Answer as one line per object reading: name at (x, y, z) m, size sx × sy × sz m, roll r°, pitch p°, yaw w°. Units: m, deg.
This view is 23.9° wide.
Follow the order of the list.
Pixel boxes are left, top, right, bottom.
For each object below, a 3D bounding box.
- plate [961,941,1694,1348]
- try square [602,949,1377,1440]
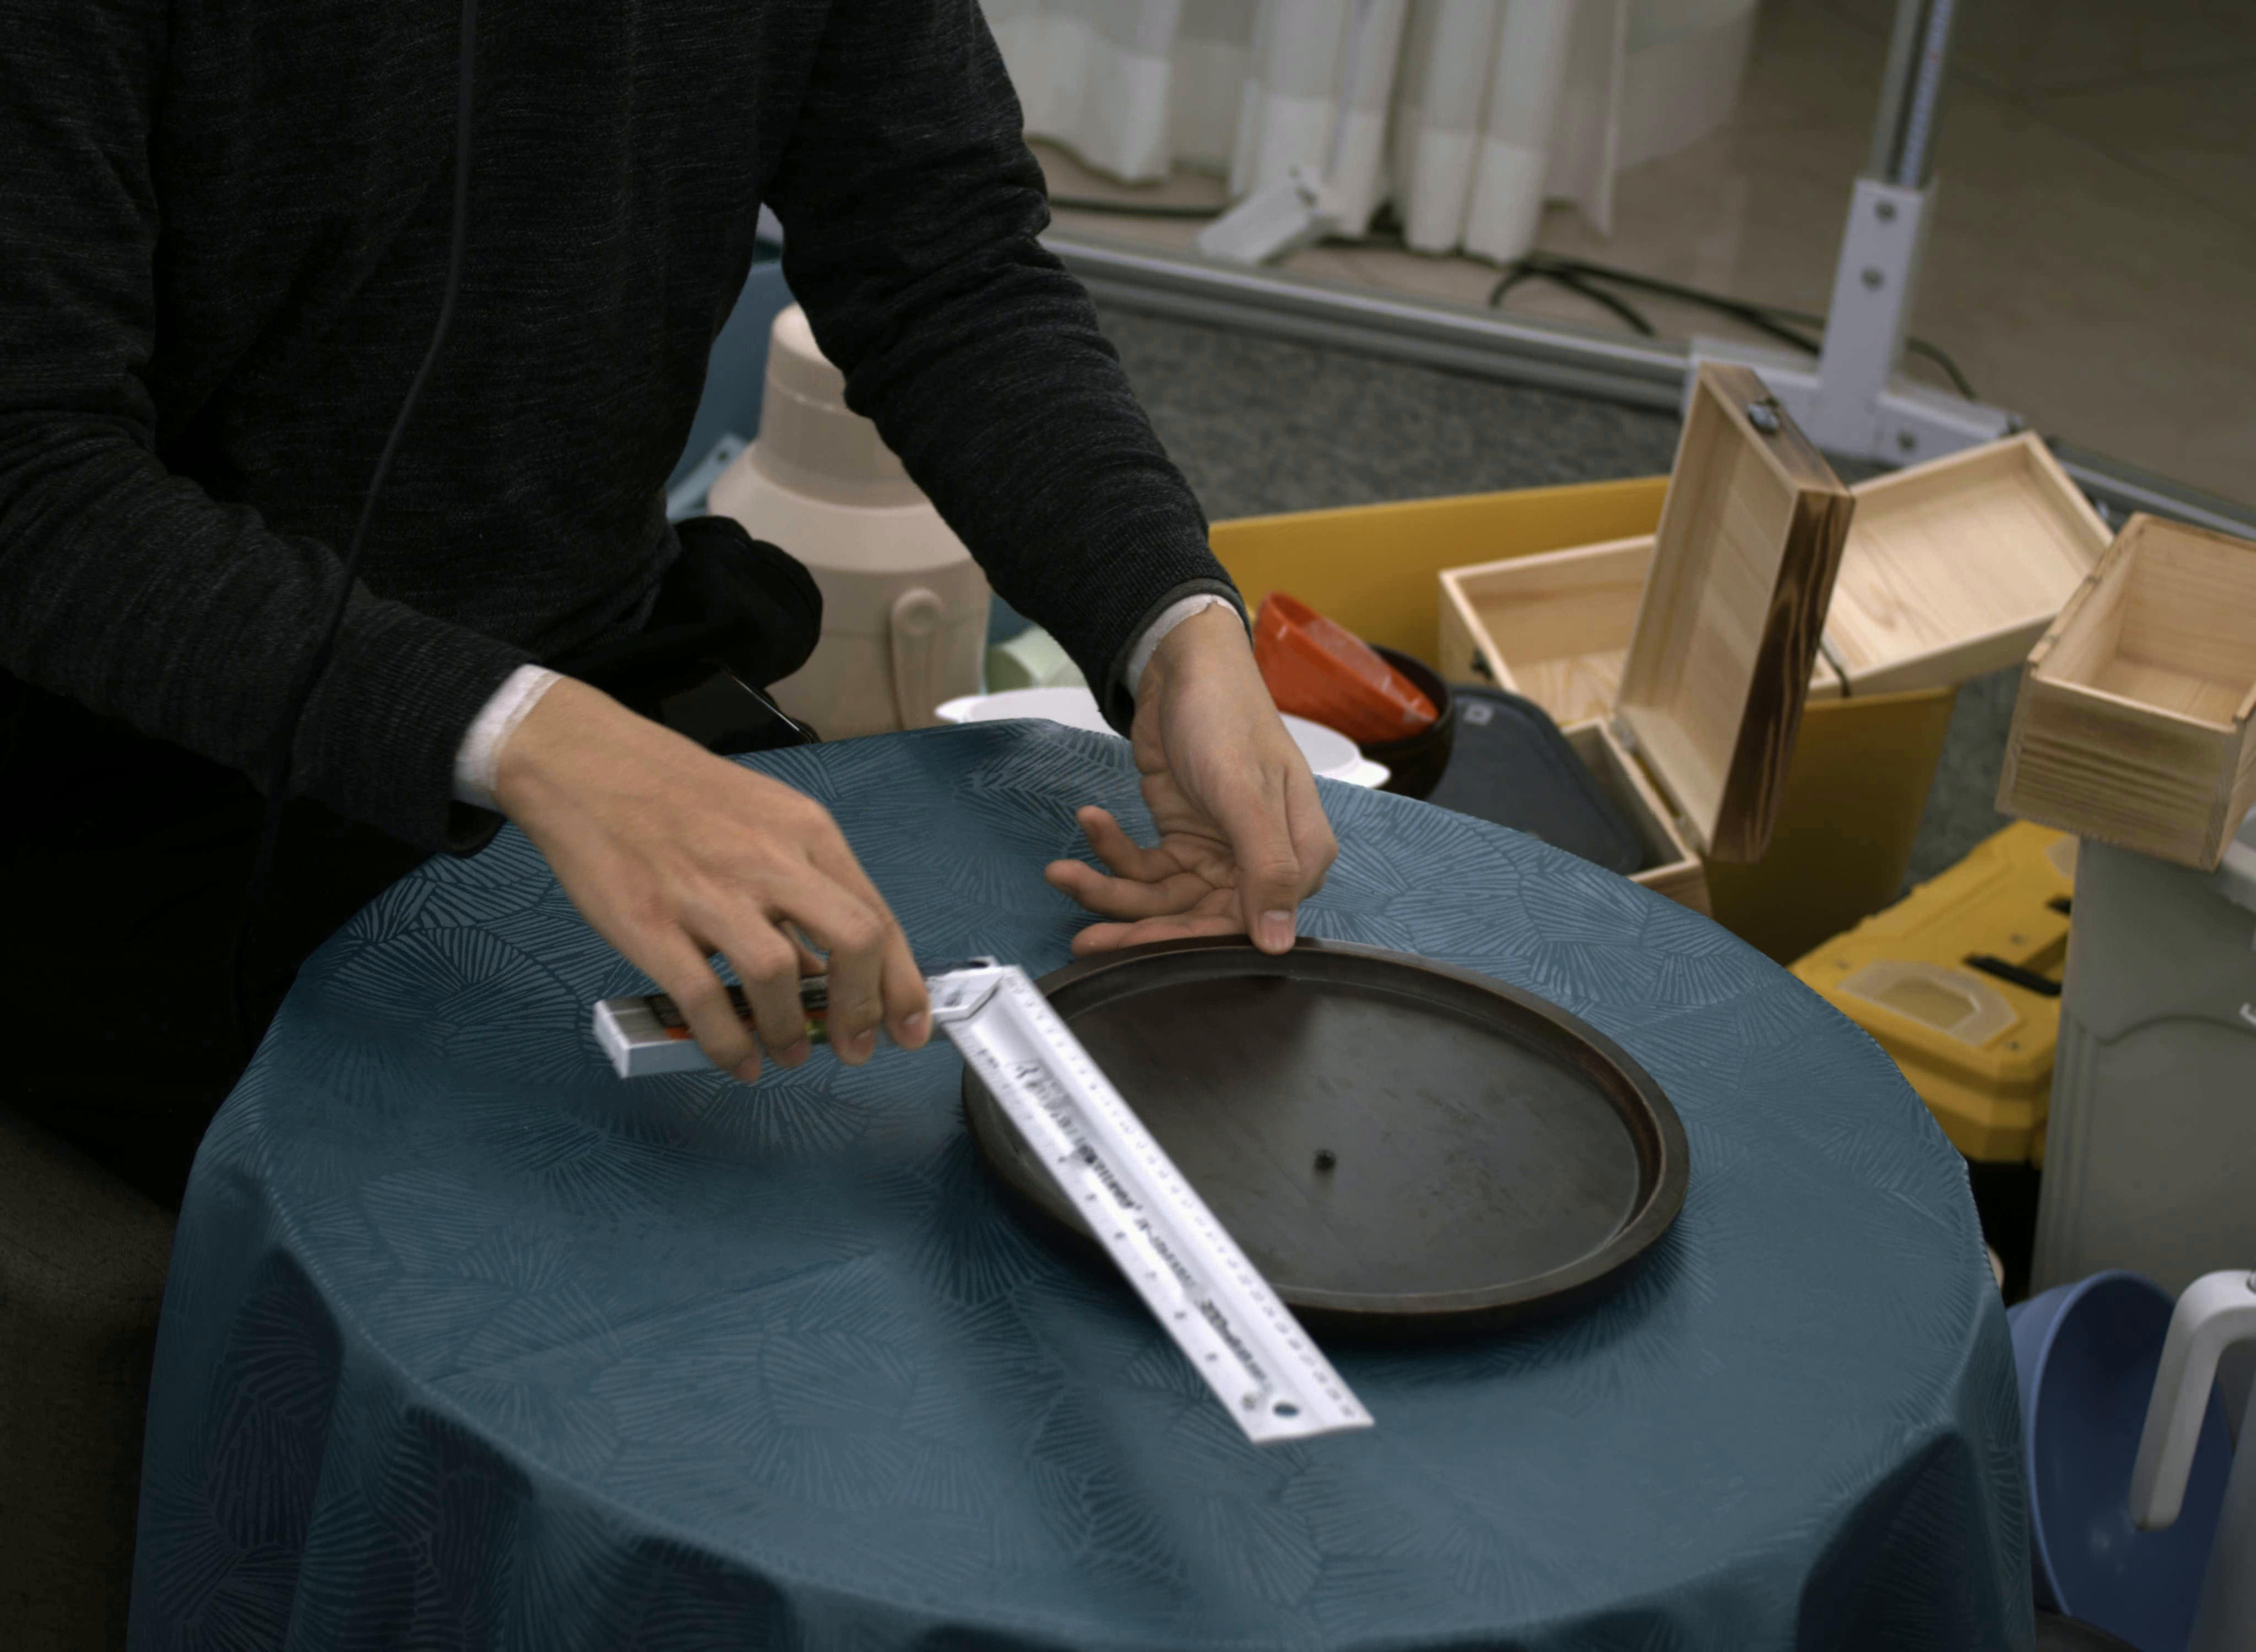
plate at (0.067, 0.107, 1.825) m, size 0.254 × 0.029 × 0.256 m, roll 6°, pitch 28°, yaw -3°
try square at (-0.051, 0.118, 1.675) m, size 0.151 × 0.016 × 0.315 m, roll -7°, pitch 27°, yaw -19°
